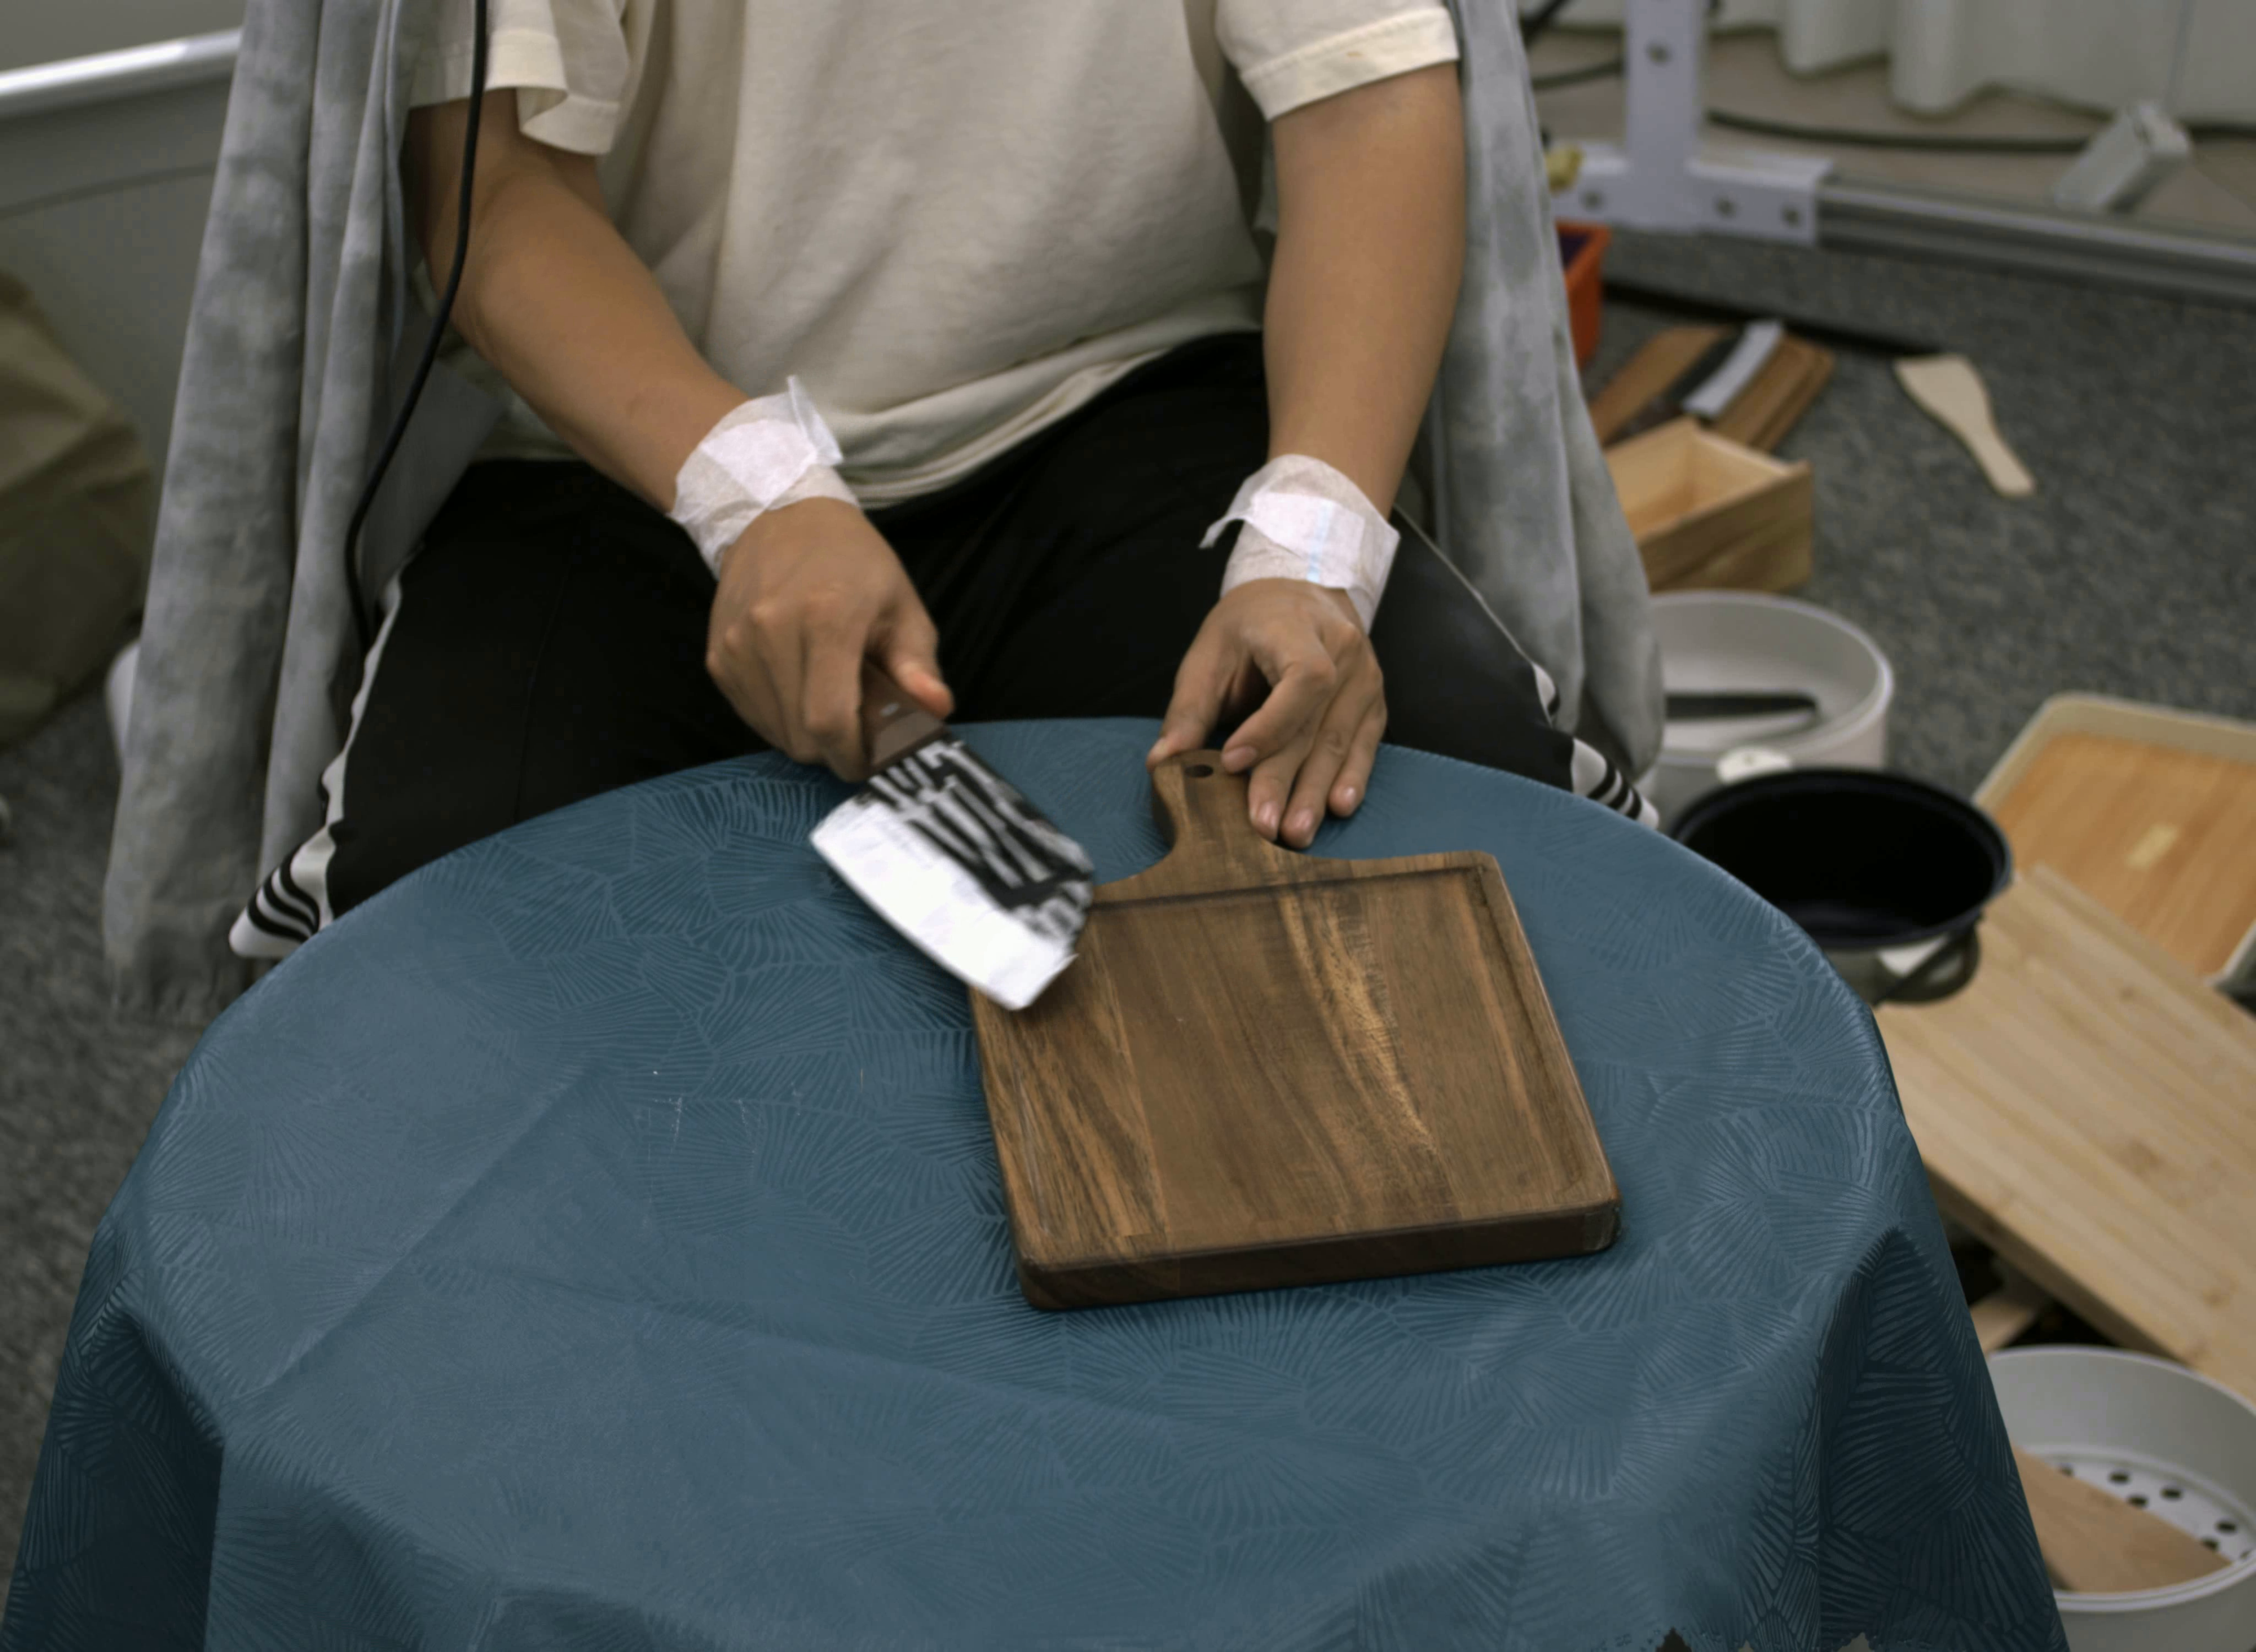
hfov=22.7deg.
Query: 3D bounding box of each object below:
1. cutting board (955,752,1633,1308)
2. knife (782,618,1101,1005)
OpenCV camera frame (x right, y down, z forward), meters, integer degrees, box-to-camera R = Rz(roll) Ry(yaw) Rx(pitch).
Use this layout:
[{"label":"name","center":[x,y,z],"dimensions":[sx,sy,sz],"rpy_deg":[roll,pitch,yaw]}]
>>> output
[{"label":"cutting board","center":[0.045,0.059,1.954],"dimensions":[0.200,0.023,0.357],"rpy_deg":[-6,27,-5]},{"label":"knife","center":[-0.078,-0.007,2.059],"dimensions":[0.068,0.024,0.301],"rpy_deg":[-35,33,-9]}]
